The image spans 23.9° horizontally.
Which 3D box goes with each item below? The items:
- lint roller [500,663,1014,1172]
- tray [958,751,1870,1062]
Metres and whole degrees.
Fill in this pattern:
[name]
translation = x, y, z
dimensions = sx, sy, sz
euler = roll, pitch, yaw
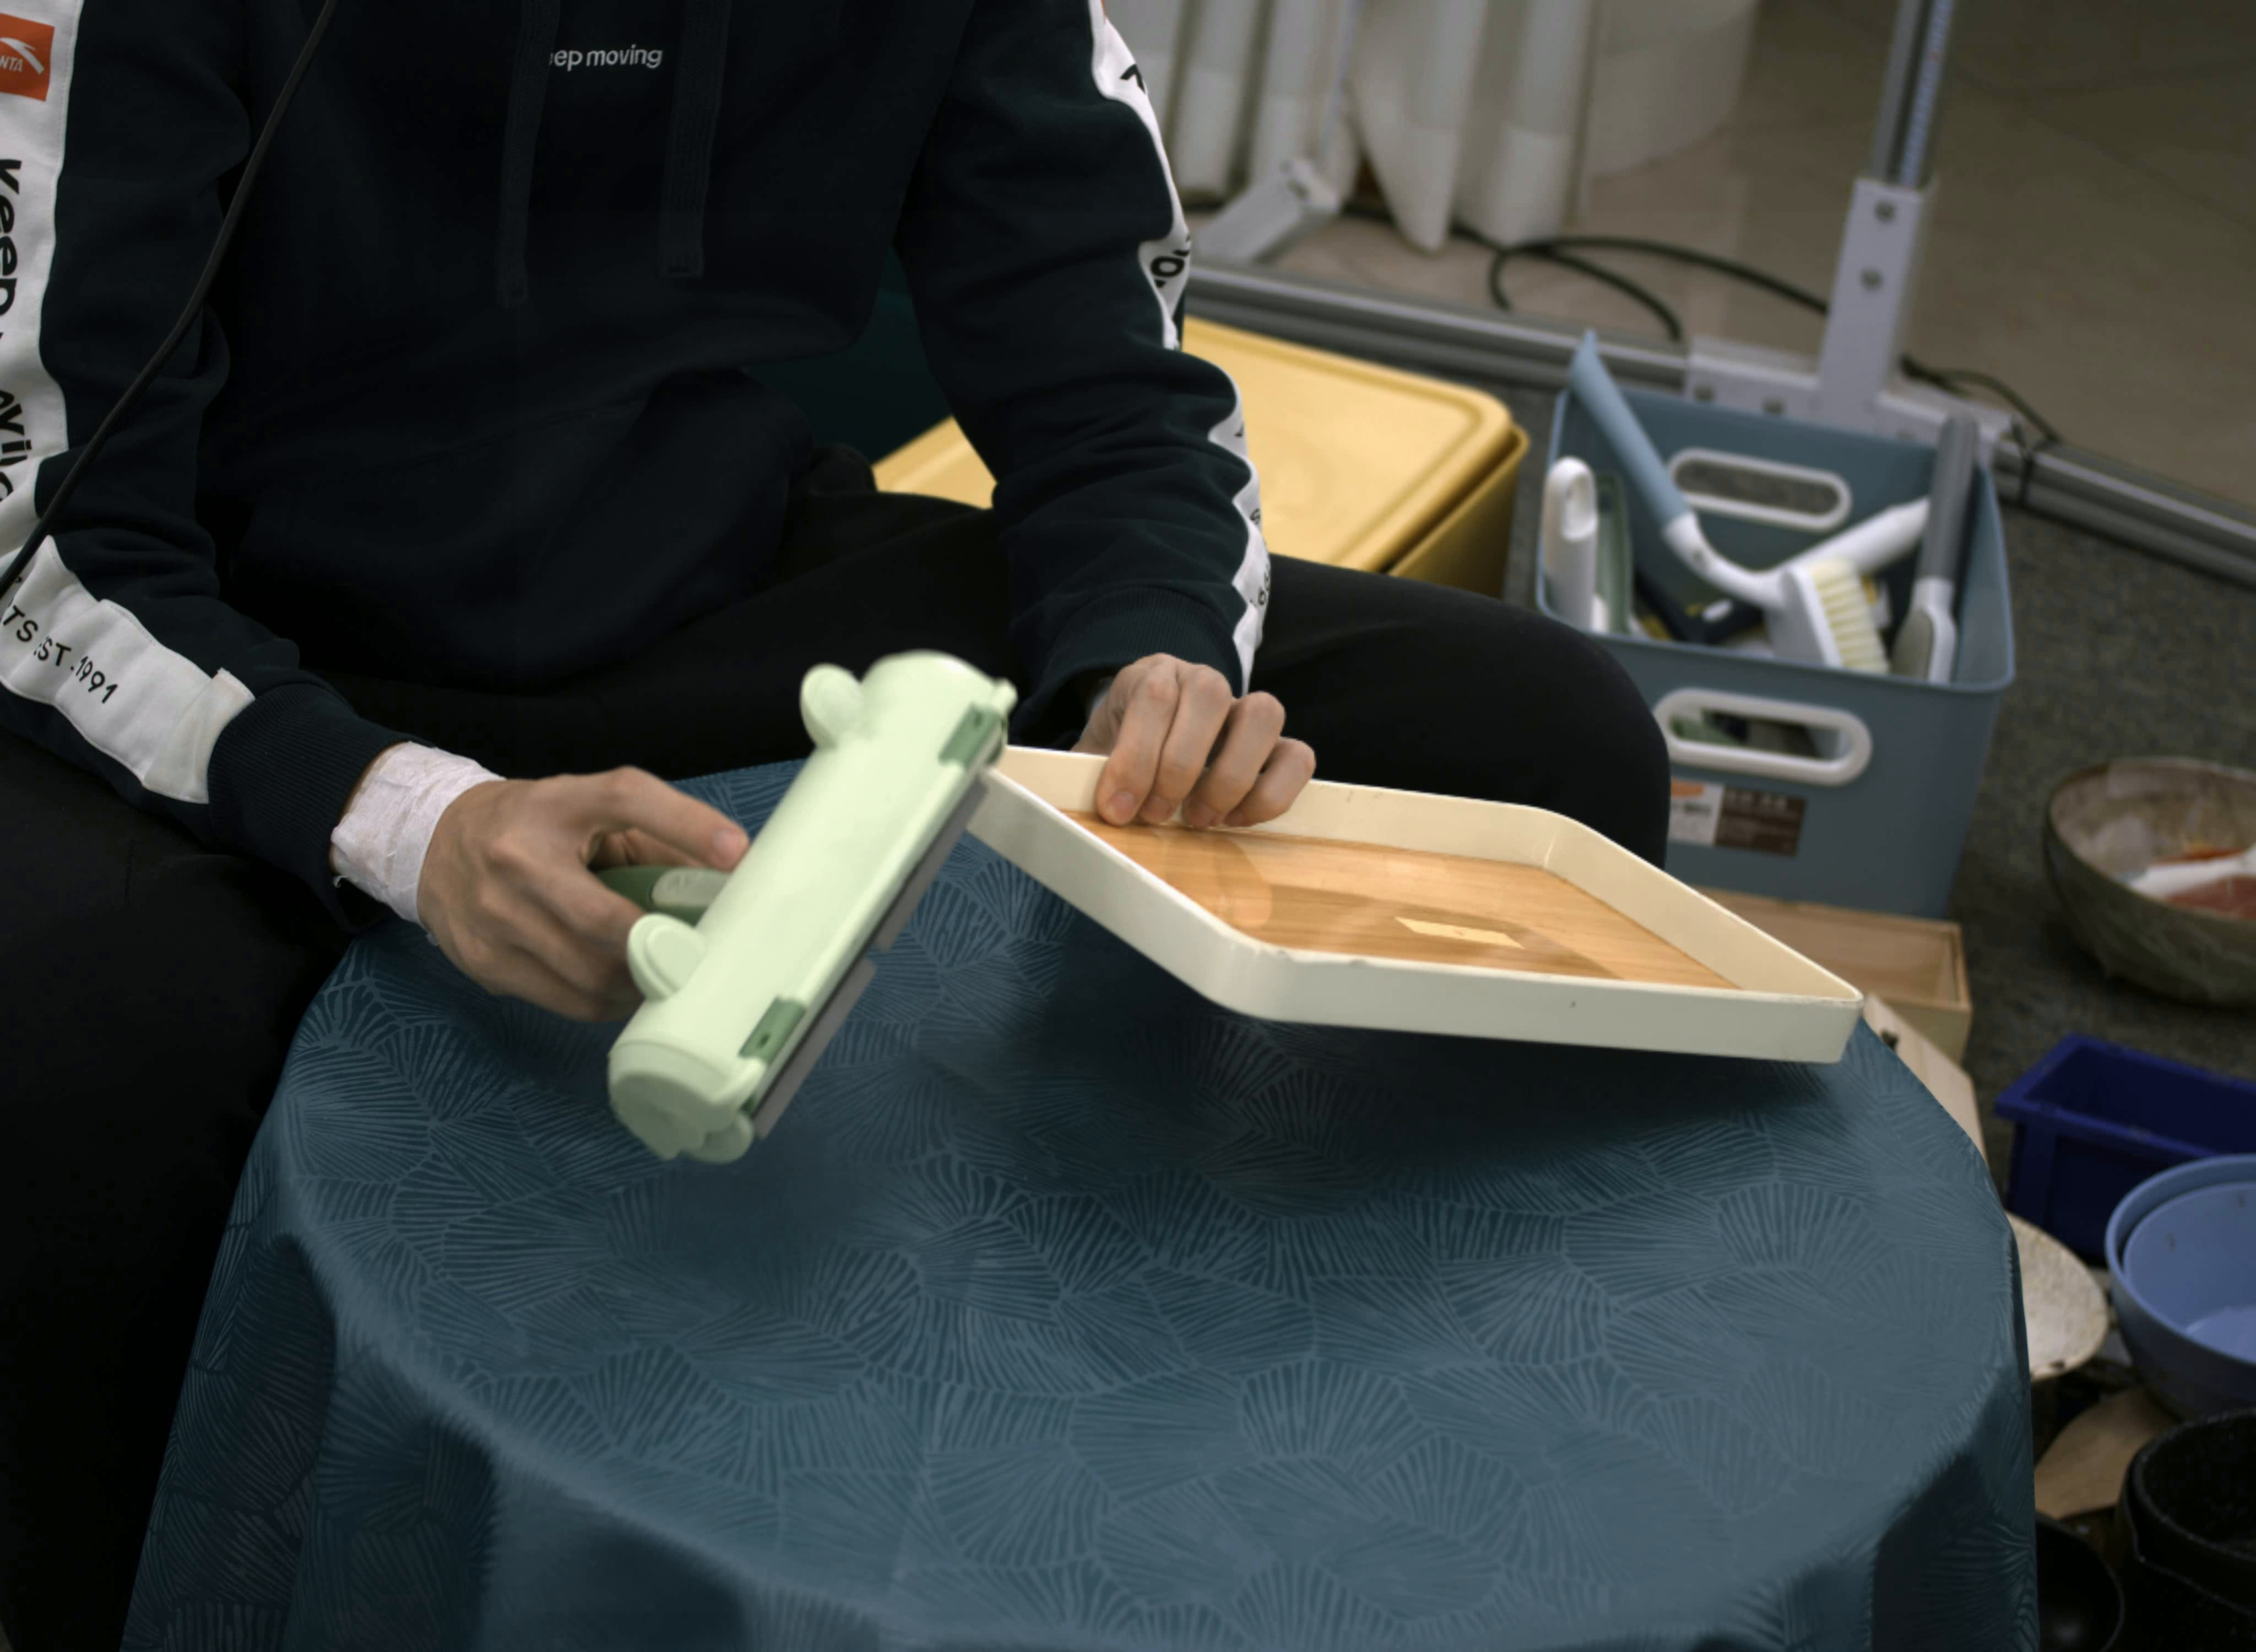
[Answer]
[lint roller]
translation = -0.152, 0.020, 1.771
dimensions = 0.184, 0.081, 0.199
euler = 4, 46, 36
[tray]
translation = 0.100, 0.029, 1.879
dimensions = 0.297, 0.027, 0.193
euler = 6, 17, -38
